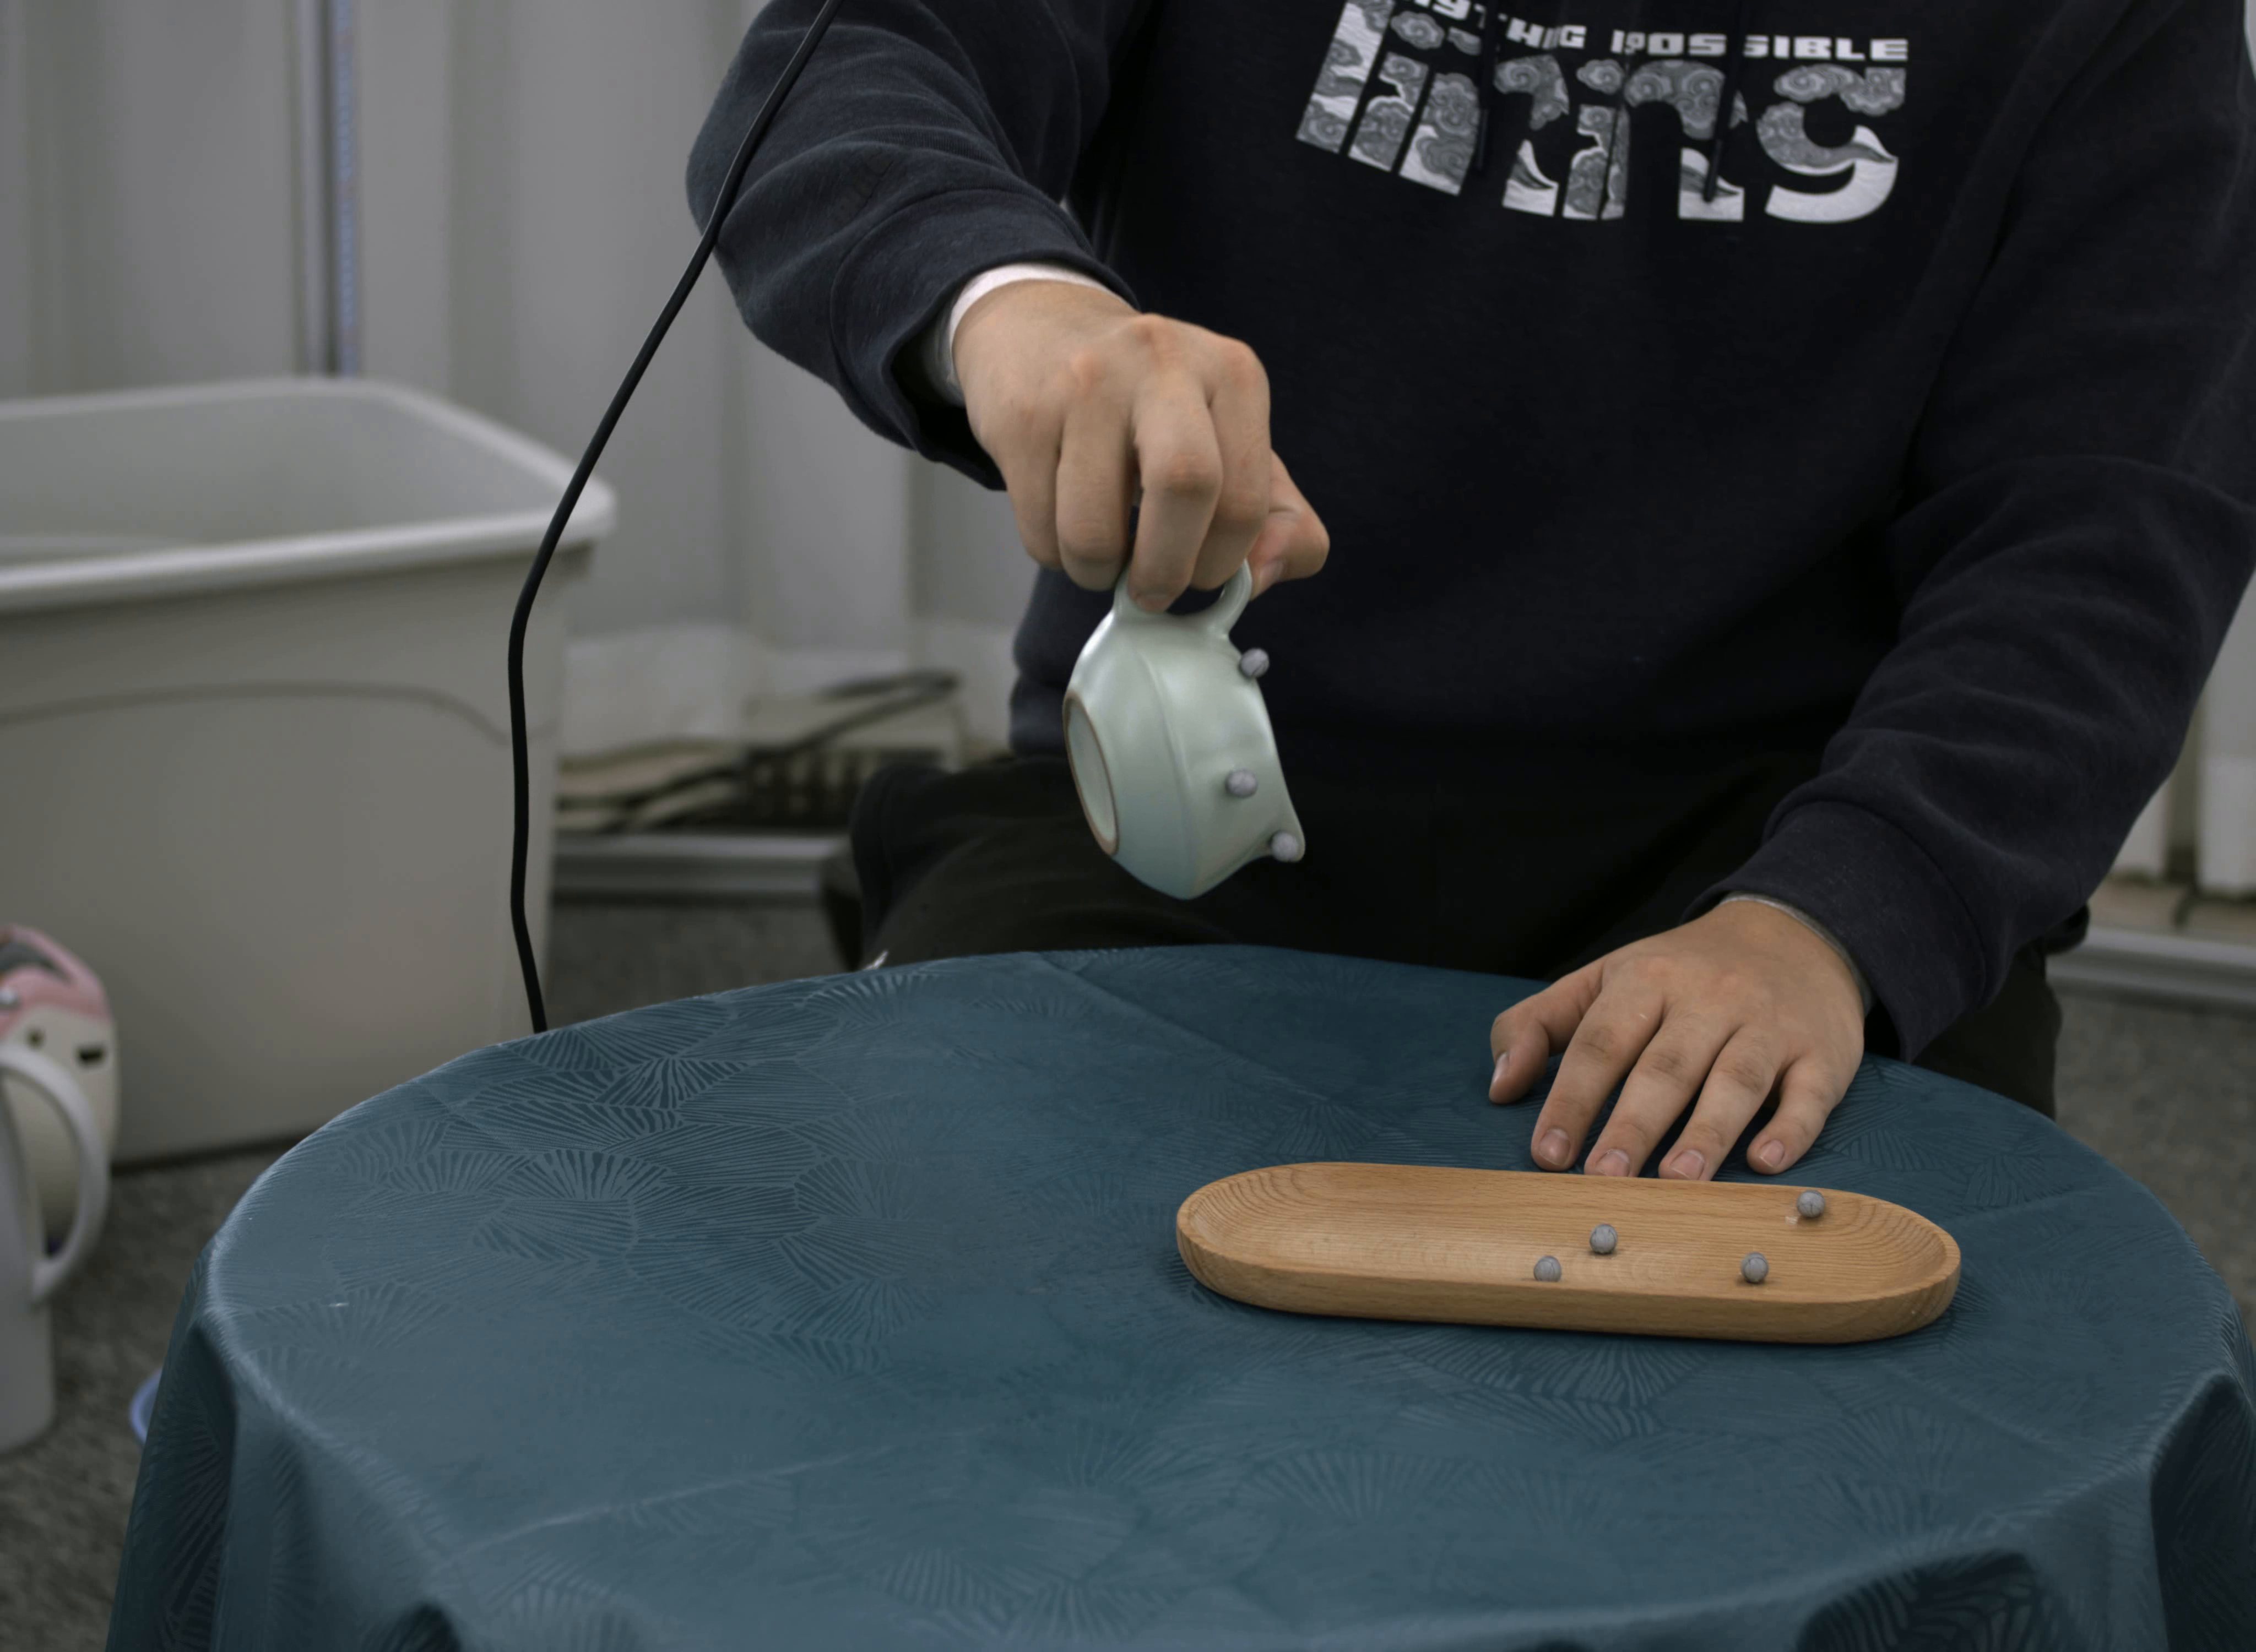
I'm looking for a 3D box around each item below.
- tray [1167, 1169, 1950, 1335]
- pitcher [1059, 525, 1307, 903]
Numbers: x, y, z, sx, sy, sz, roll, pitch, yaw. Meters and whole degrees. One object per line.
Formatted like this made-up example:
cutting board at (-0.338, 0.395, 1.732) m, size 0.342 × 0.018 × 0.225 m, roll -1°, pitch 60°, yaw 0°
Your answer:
tray at (0.126, 0.126, 1.556) m, size 0.230 × 0.020 × 0.101 m, roll 0°, pitch 13°, yaw 7°
pitcher at (0.012, -0.032, 1.512) m, size 0.060 × 0.109 × 0.085 m, roll -17°, pitch 16°, yaw -11°
